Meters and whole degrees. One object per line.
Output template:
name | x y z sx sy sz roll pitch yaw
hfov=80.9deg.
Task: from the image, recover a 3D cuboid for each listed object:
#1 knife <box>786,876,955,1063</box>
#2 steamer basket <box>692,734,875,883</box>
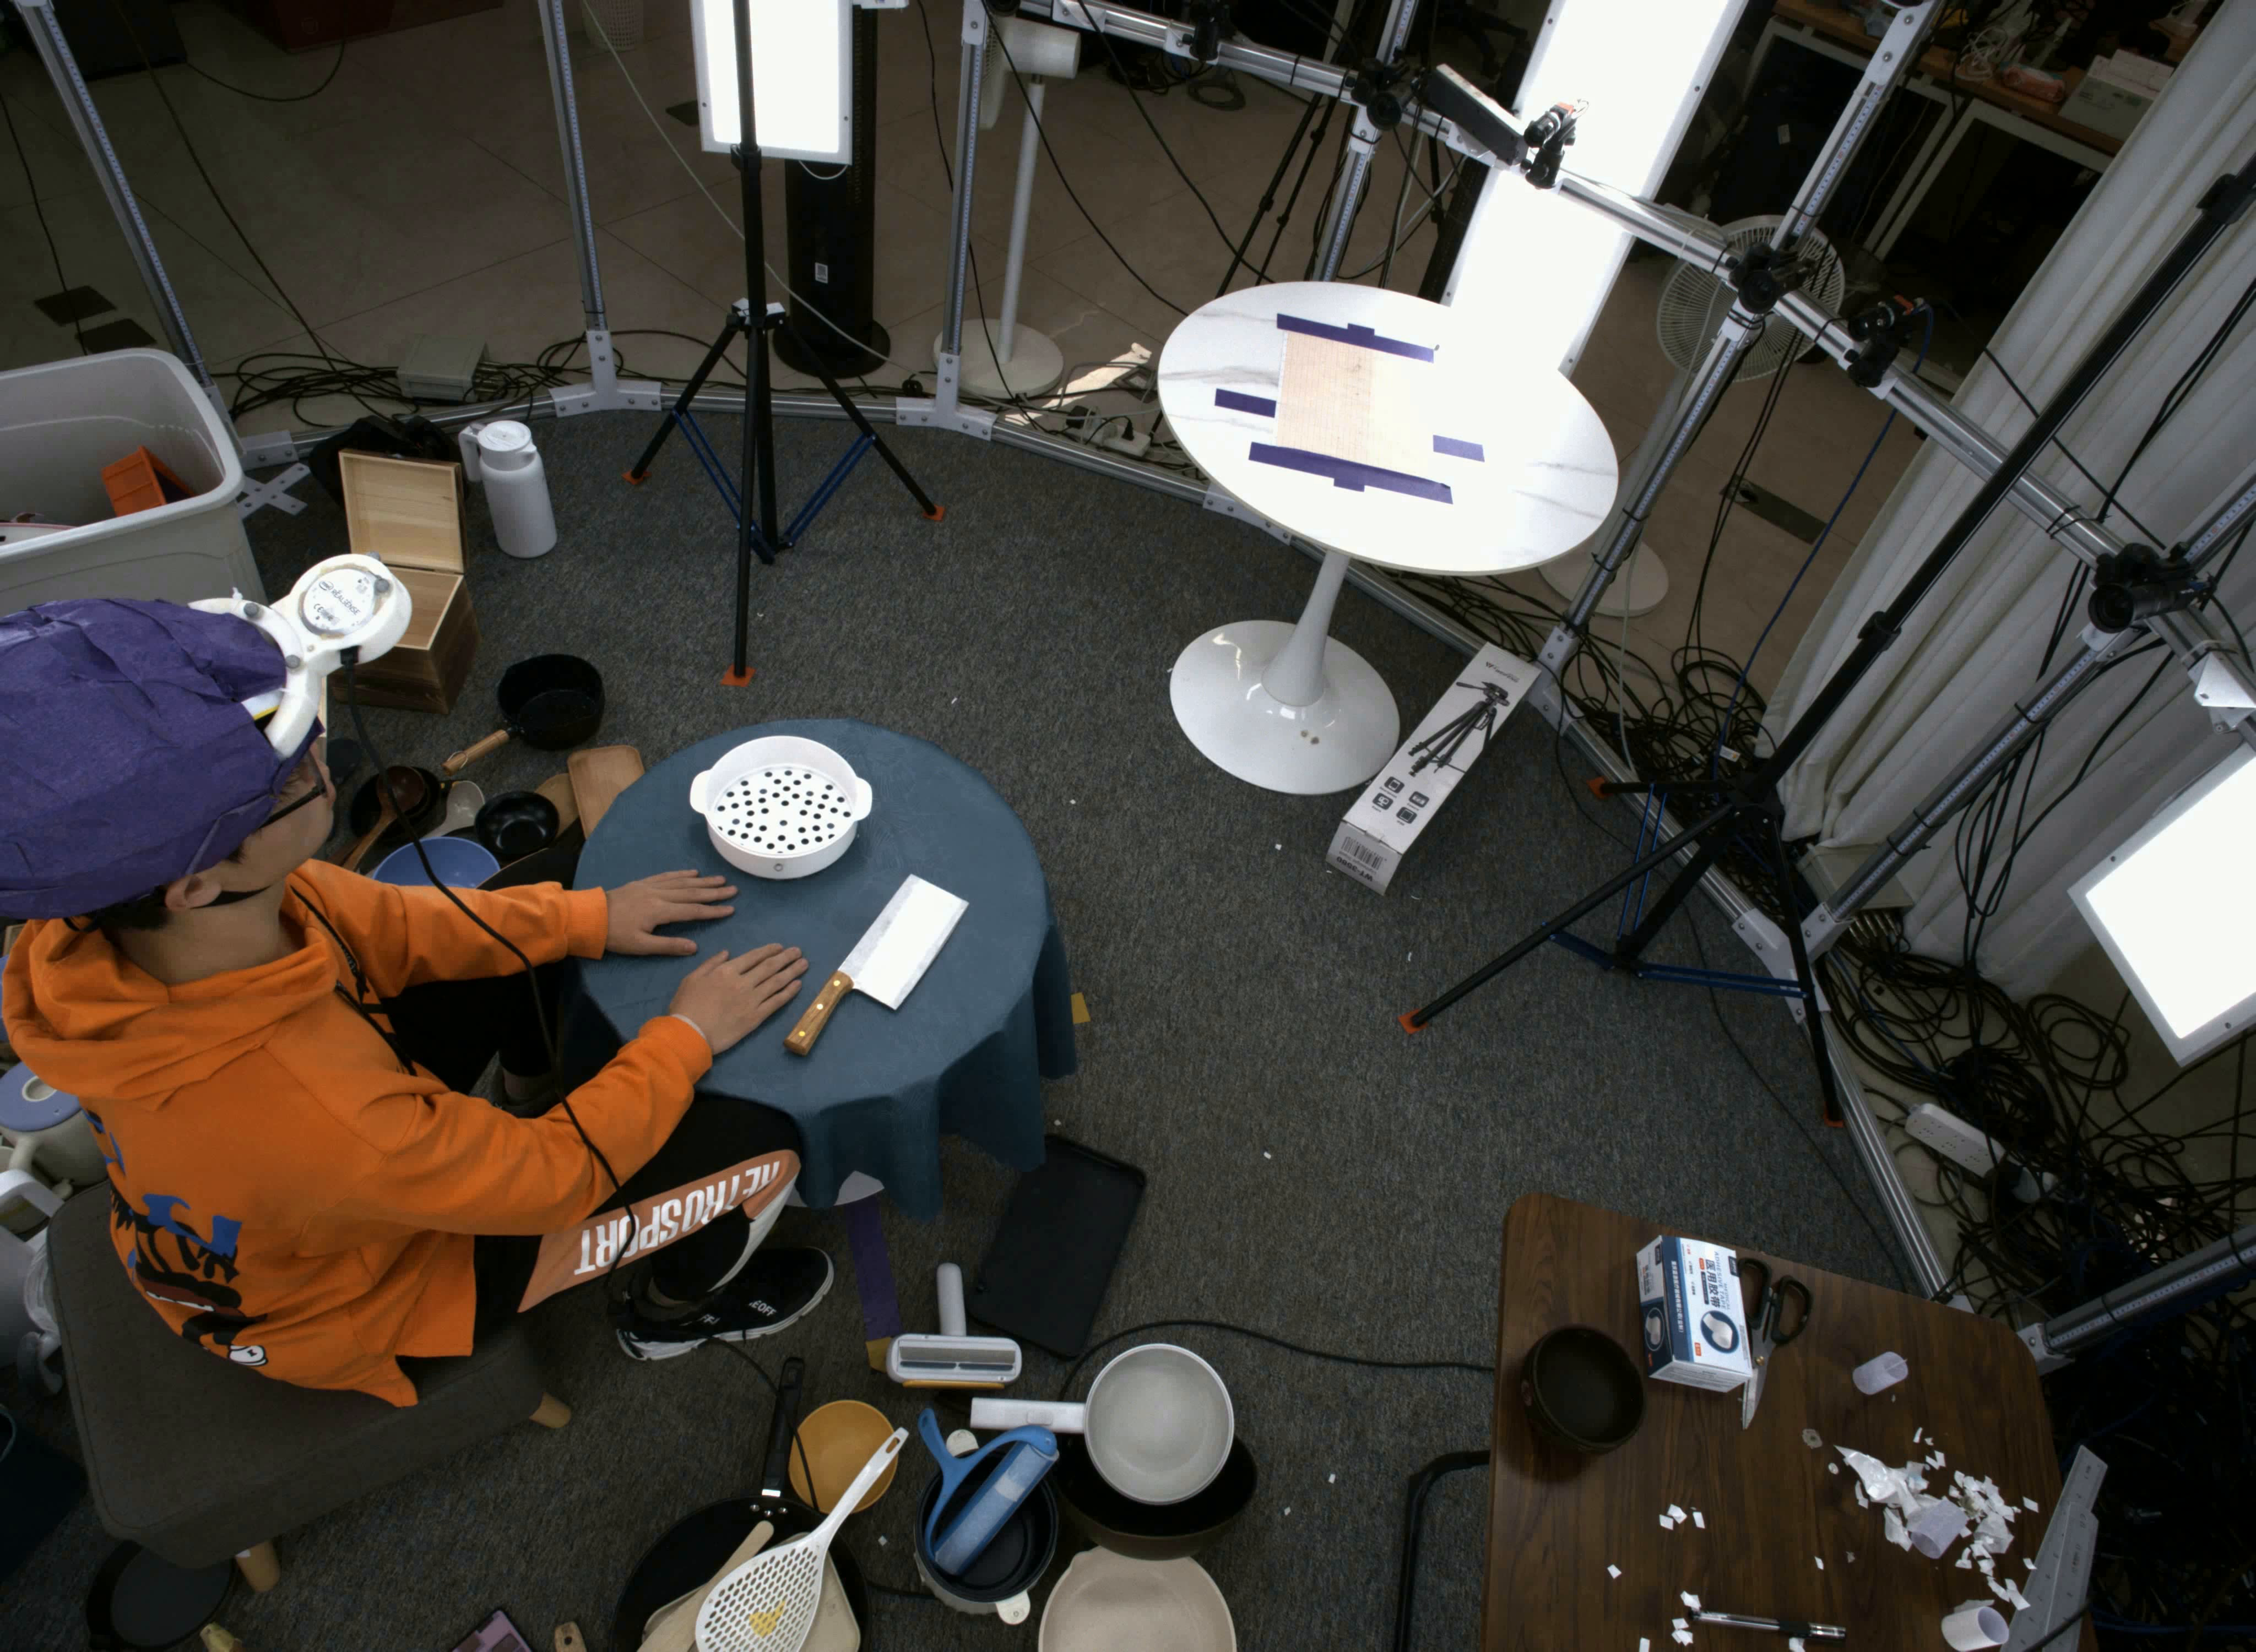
knife | -0.307 0.178 1.602 0.092 0.021 0.304 27 49 4
steamer basket | -0.446 -0.024 1.681 0.231 0.070 0.198 4 54 -15
